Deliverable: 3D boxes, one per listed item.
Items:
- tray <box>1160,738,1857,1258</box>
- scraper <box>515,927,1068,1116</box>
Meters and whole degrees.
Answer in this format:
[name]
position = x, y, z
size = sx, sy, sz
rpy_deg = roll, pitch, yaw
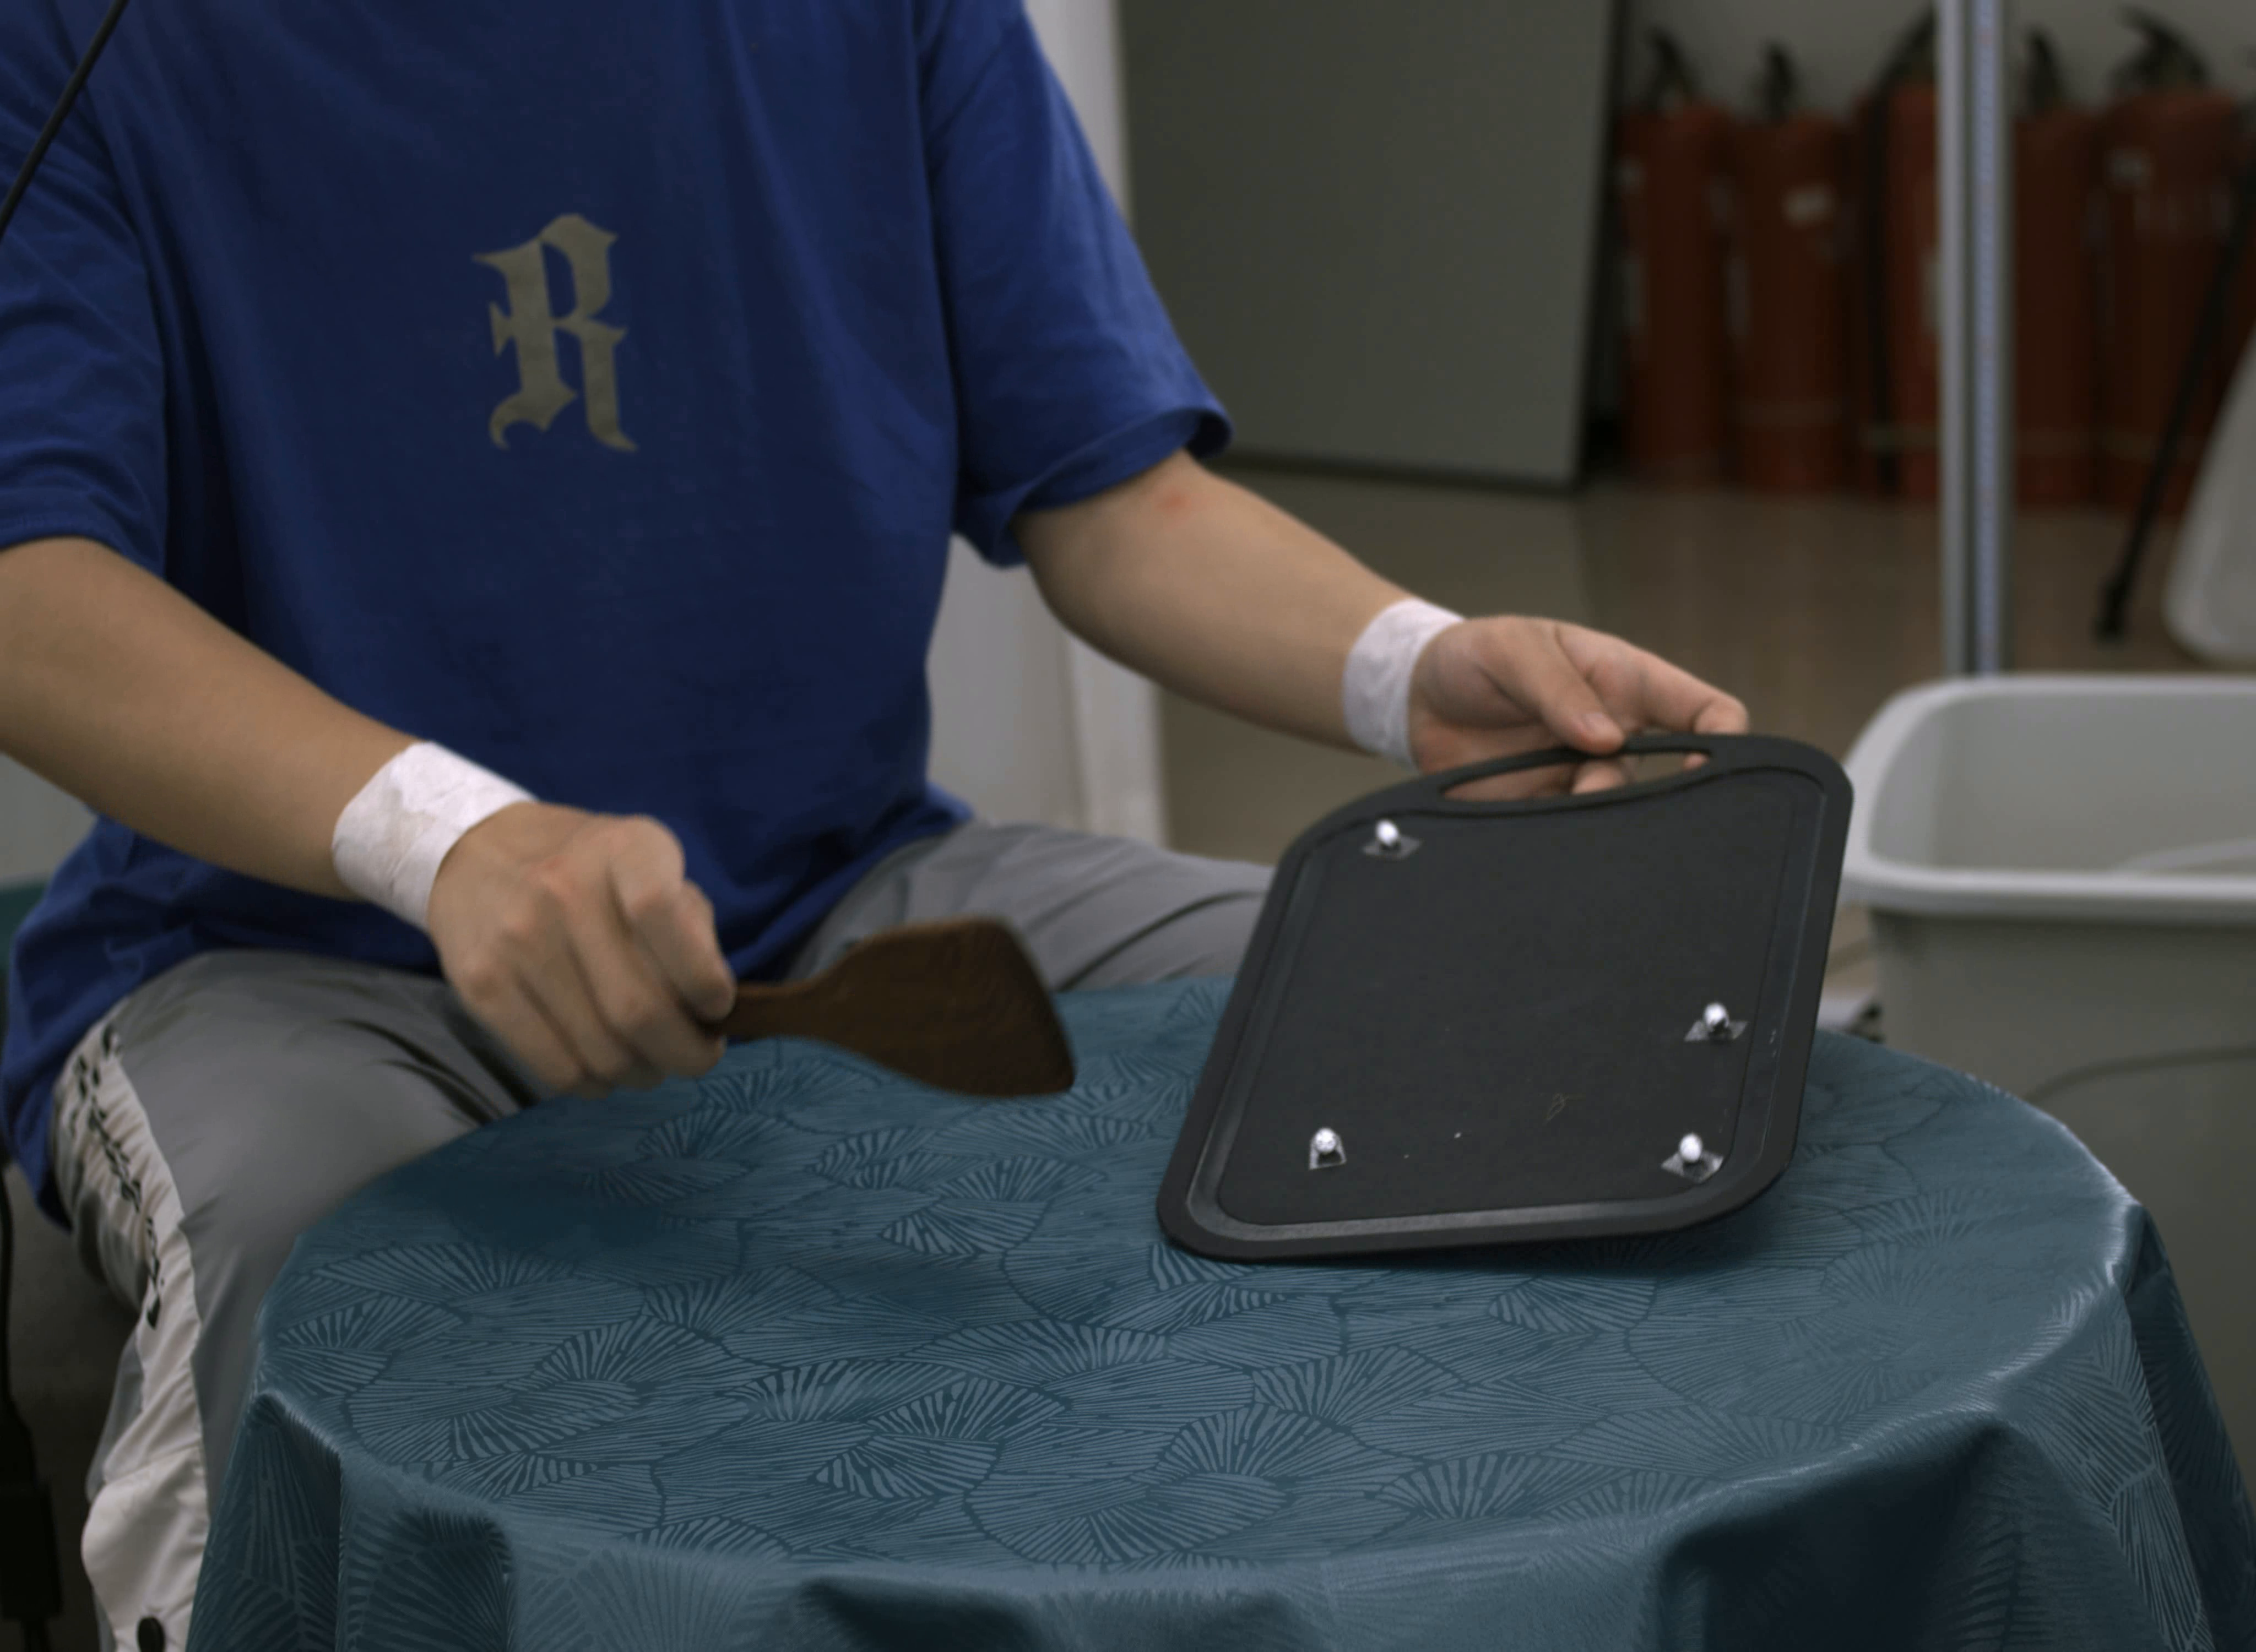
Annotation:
[tray]
position = 0.133, 0.049, 1.807
size = 0.210, 0.010, 0.324
rpy_deg = -7, 27, 18
[scraper]
position = -0.114, 0.063, 1.739
size = 0.212, 0.075, 0.011
rpy_deg = -1, 40, 36
